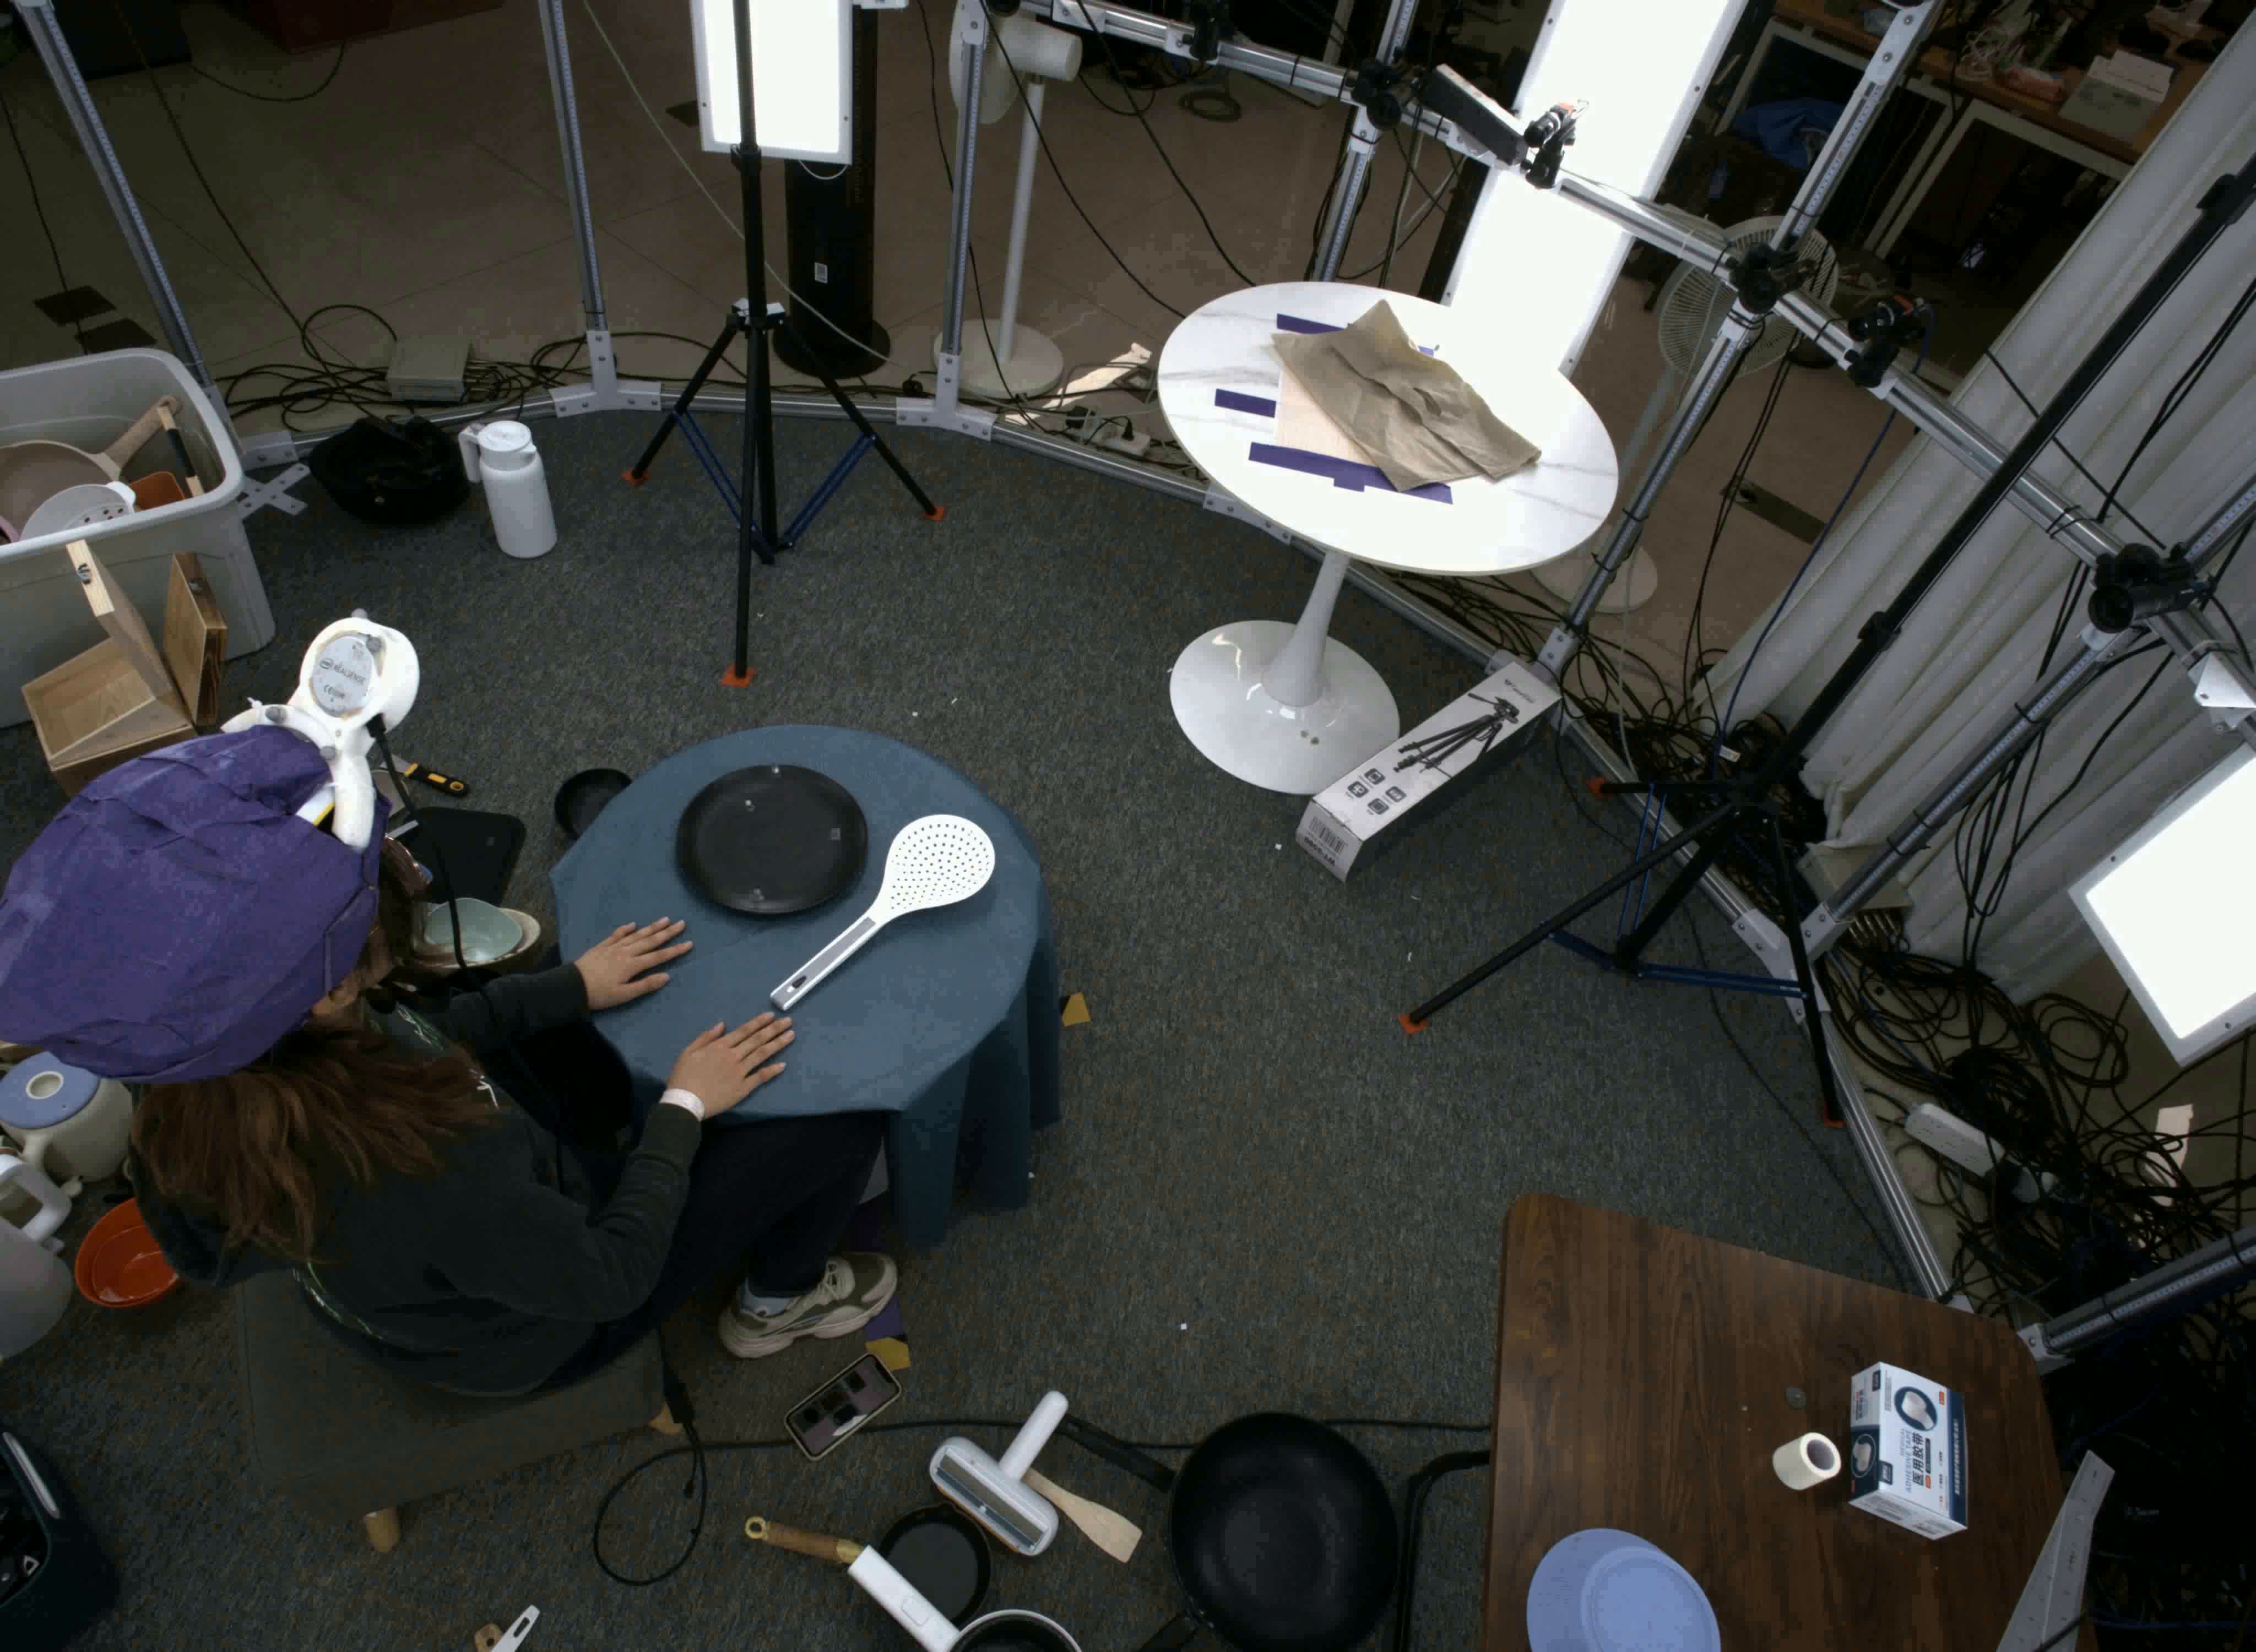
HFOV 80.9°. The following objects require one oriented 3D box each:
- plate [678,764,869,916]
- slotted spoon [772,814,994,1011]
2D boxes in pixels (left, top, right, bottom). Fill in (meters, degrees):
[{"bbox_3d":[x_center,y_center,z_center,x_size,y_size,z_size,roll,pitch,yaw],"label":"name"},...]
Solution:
[{"bbox_3d":[-0.462,0.018,1.691,0.244,0.024,0.240,8,53,-9],"label":"plate"},{"bbox_3d":[-0.312,0.109,1.648,0.133,0.047,0.350,37,55,17],"label":"slotted spoon"}]
